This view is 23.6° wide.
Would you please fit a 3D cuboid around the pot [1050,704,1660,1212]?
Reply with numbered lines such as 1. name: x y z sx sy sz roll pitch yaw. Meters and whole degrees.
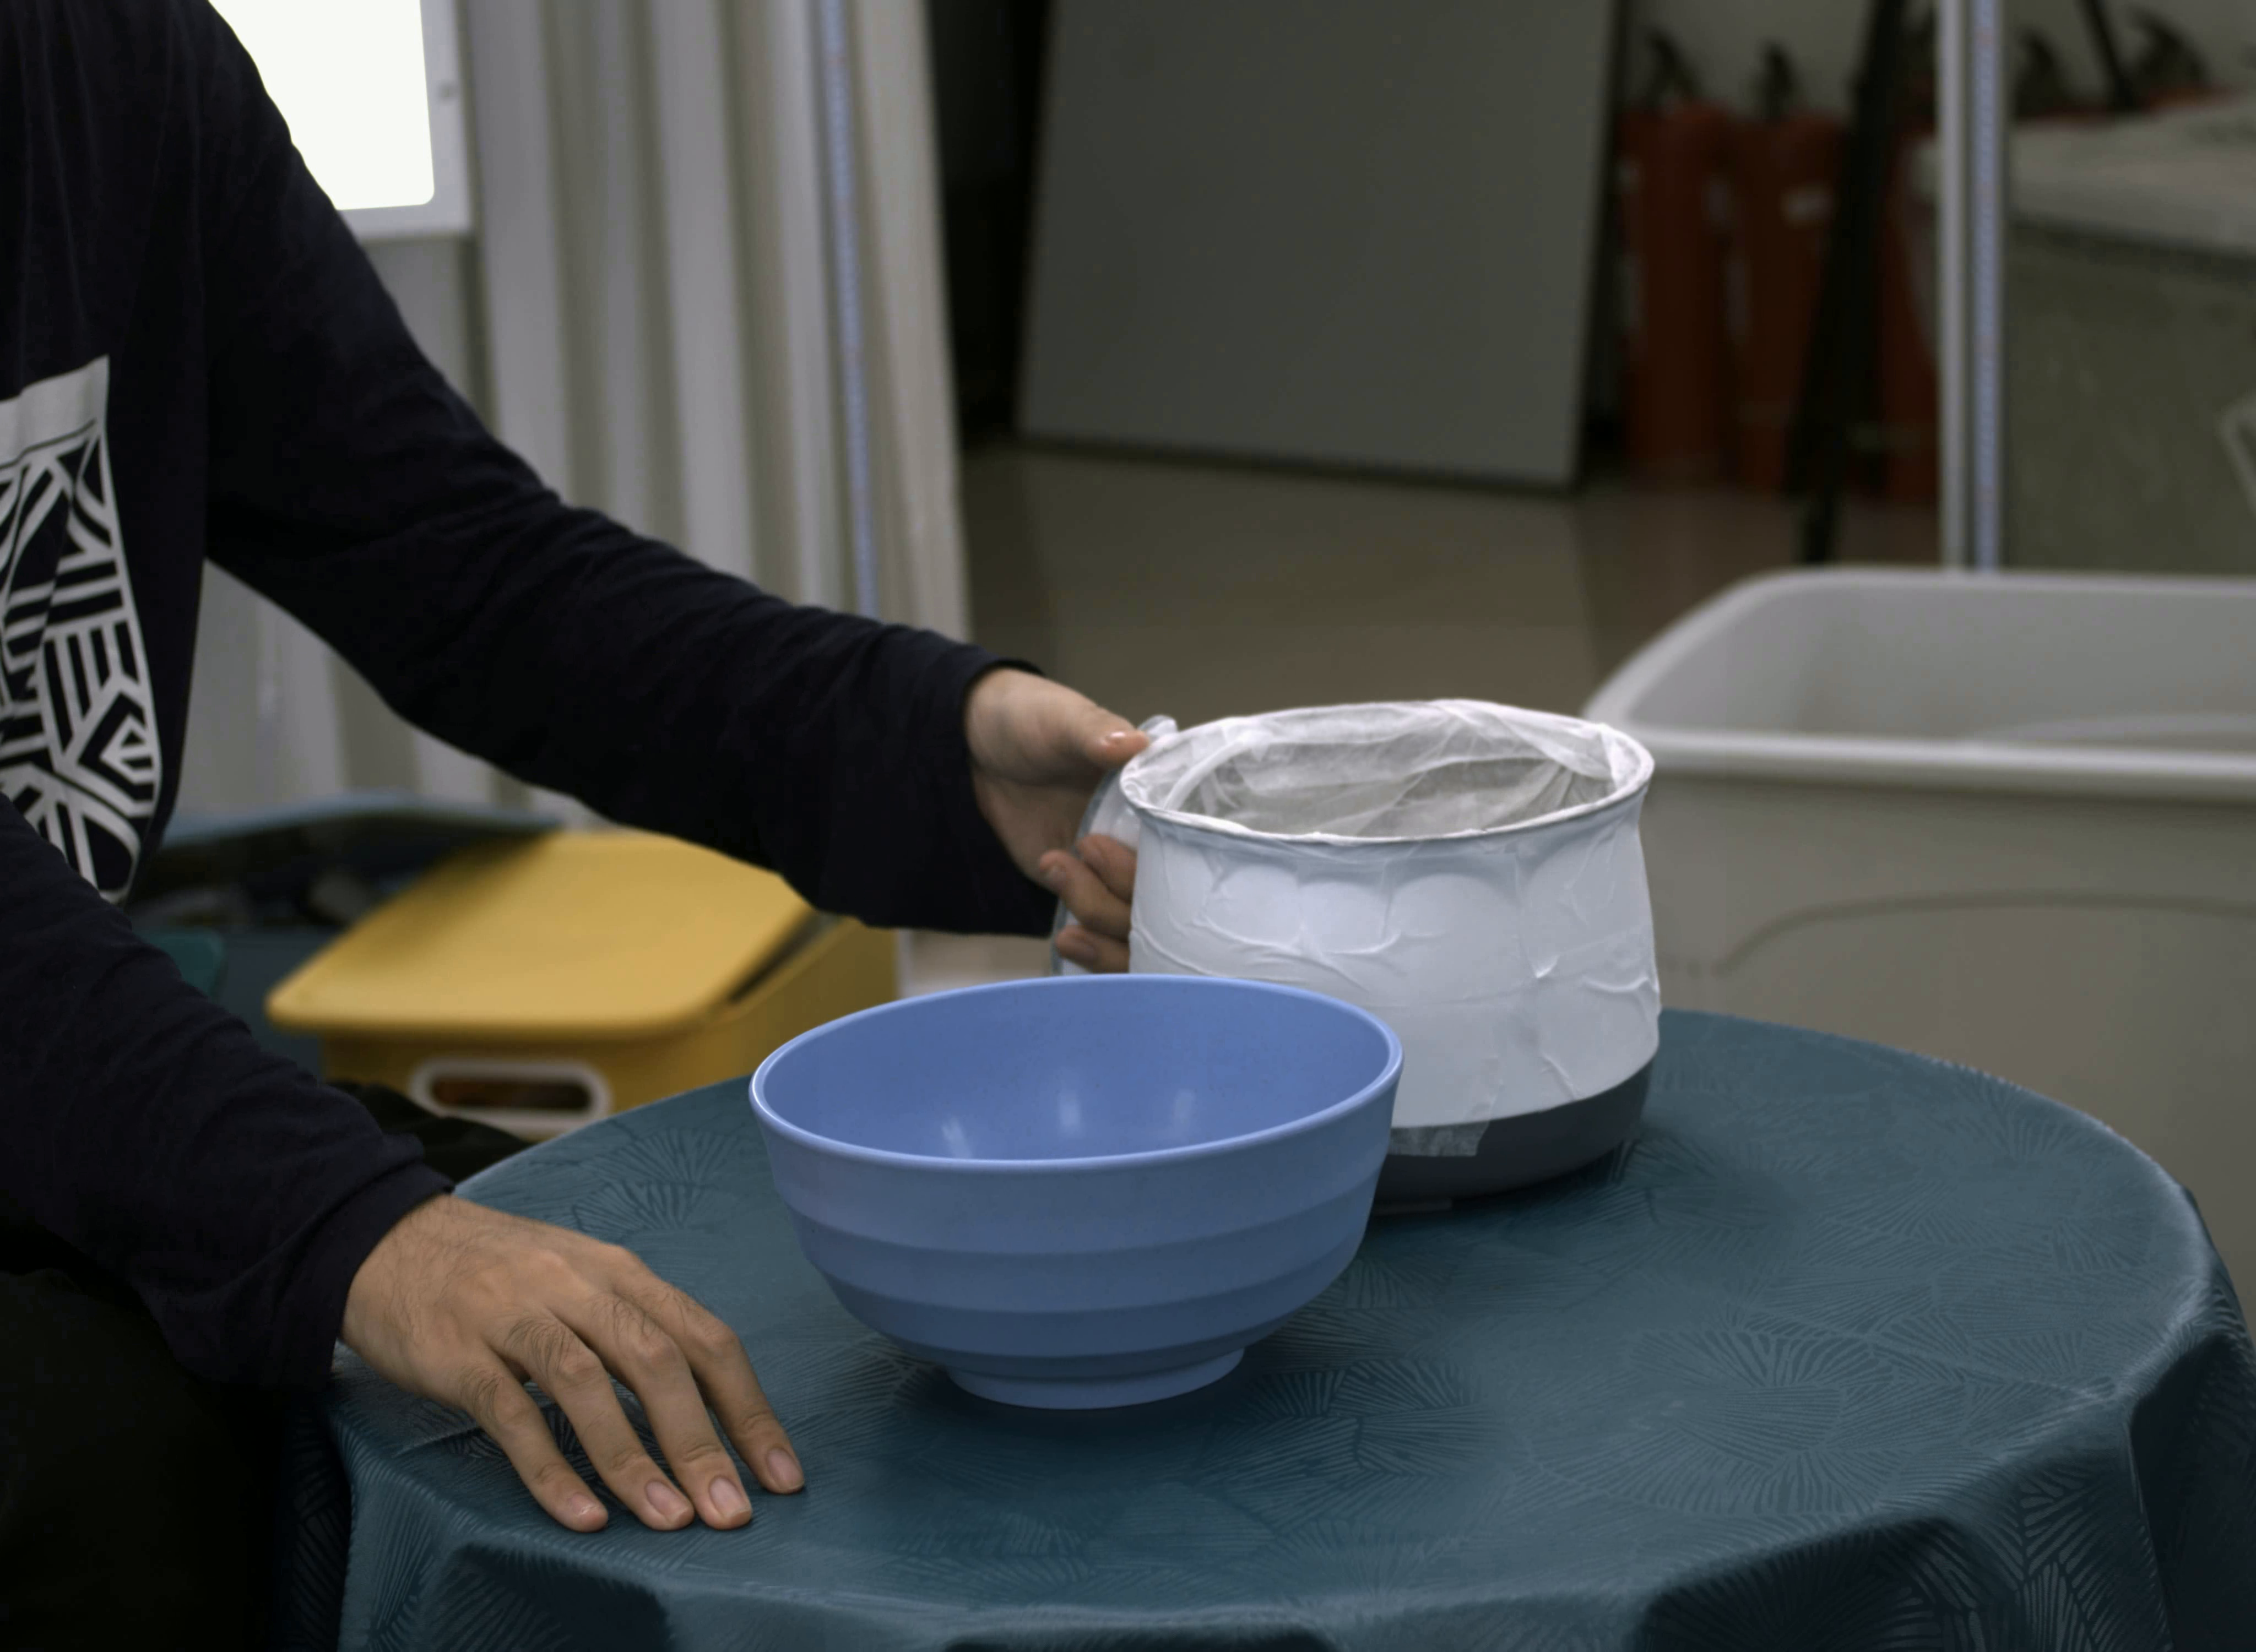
1. pot: 0.066 0.038 1.799 0.235 0.138 0.175 9 16 40

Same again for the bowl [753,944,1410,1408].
1. bowl: -0.012 0.111 1.605 0.194 0.096 0.197 -3 18 0
